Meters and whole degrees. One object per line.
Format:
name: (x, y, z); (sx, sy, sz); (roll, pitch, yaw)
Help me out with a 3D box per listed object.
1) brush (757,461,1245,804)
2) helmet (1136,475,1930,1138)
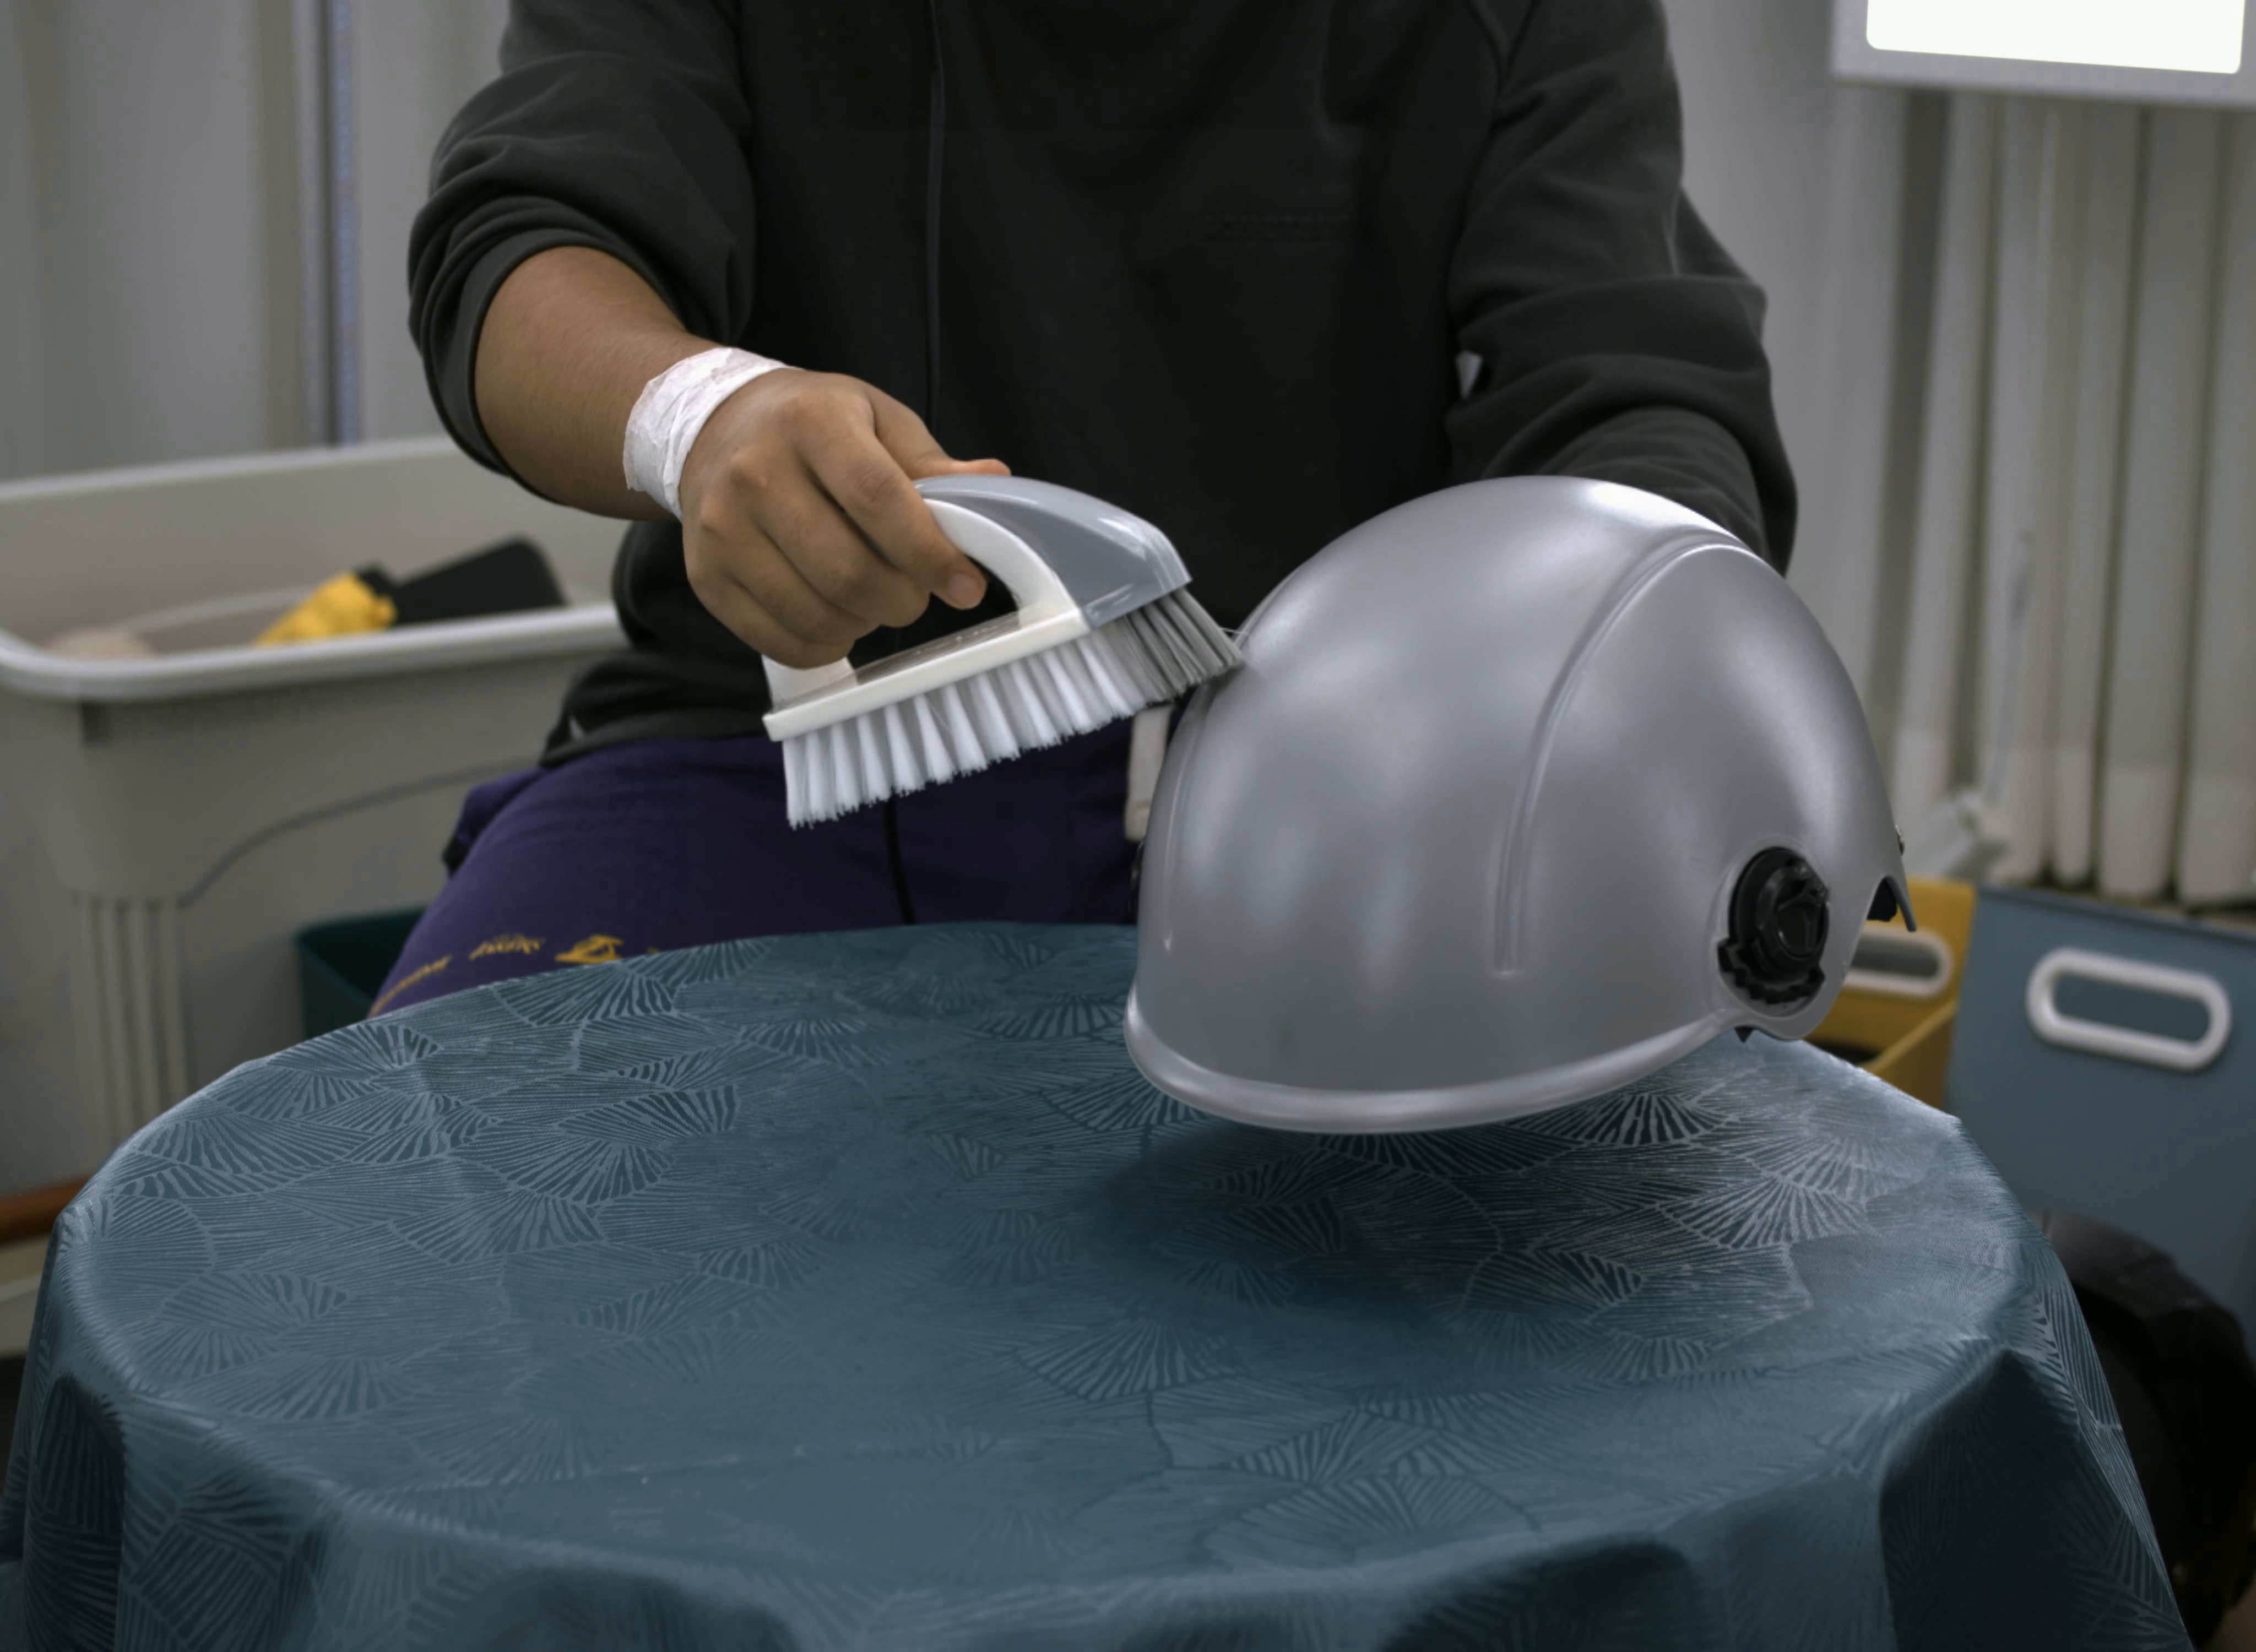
brush: (-0.045, -0.069, 1.612); (0.174, 0.095, 0.061); (-14, 14, 41)
helmet: (0.116, -0.018, 1.605); (0.229, 0.170, 0.277); (2, 15, 32)
